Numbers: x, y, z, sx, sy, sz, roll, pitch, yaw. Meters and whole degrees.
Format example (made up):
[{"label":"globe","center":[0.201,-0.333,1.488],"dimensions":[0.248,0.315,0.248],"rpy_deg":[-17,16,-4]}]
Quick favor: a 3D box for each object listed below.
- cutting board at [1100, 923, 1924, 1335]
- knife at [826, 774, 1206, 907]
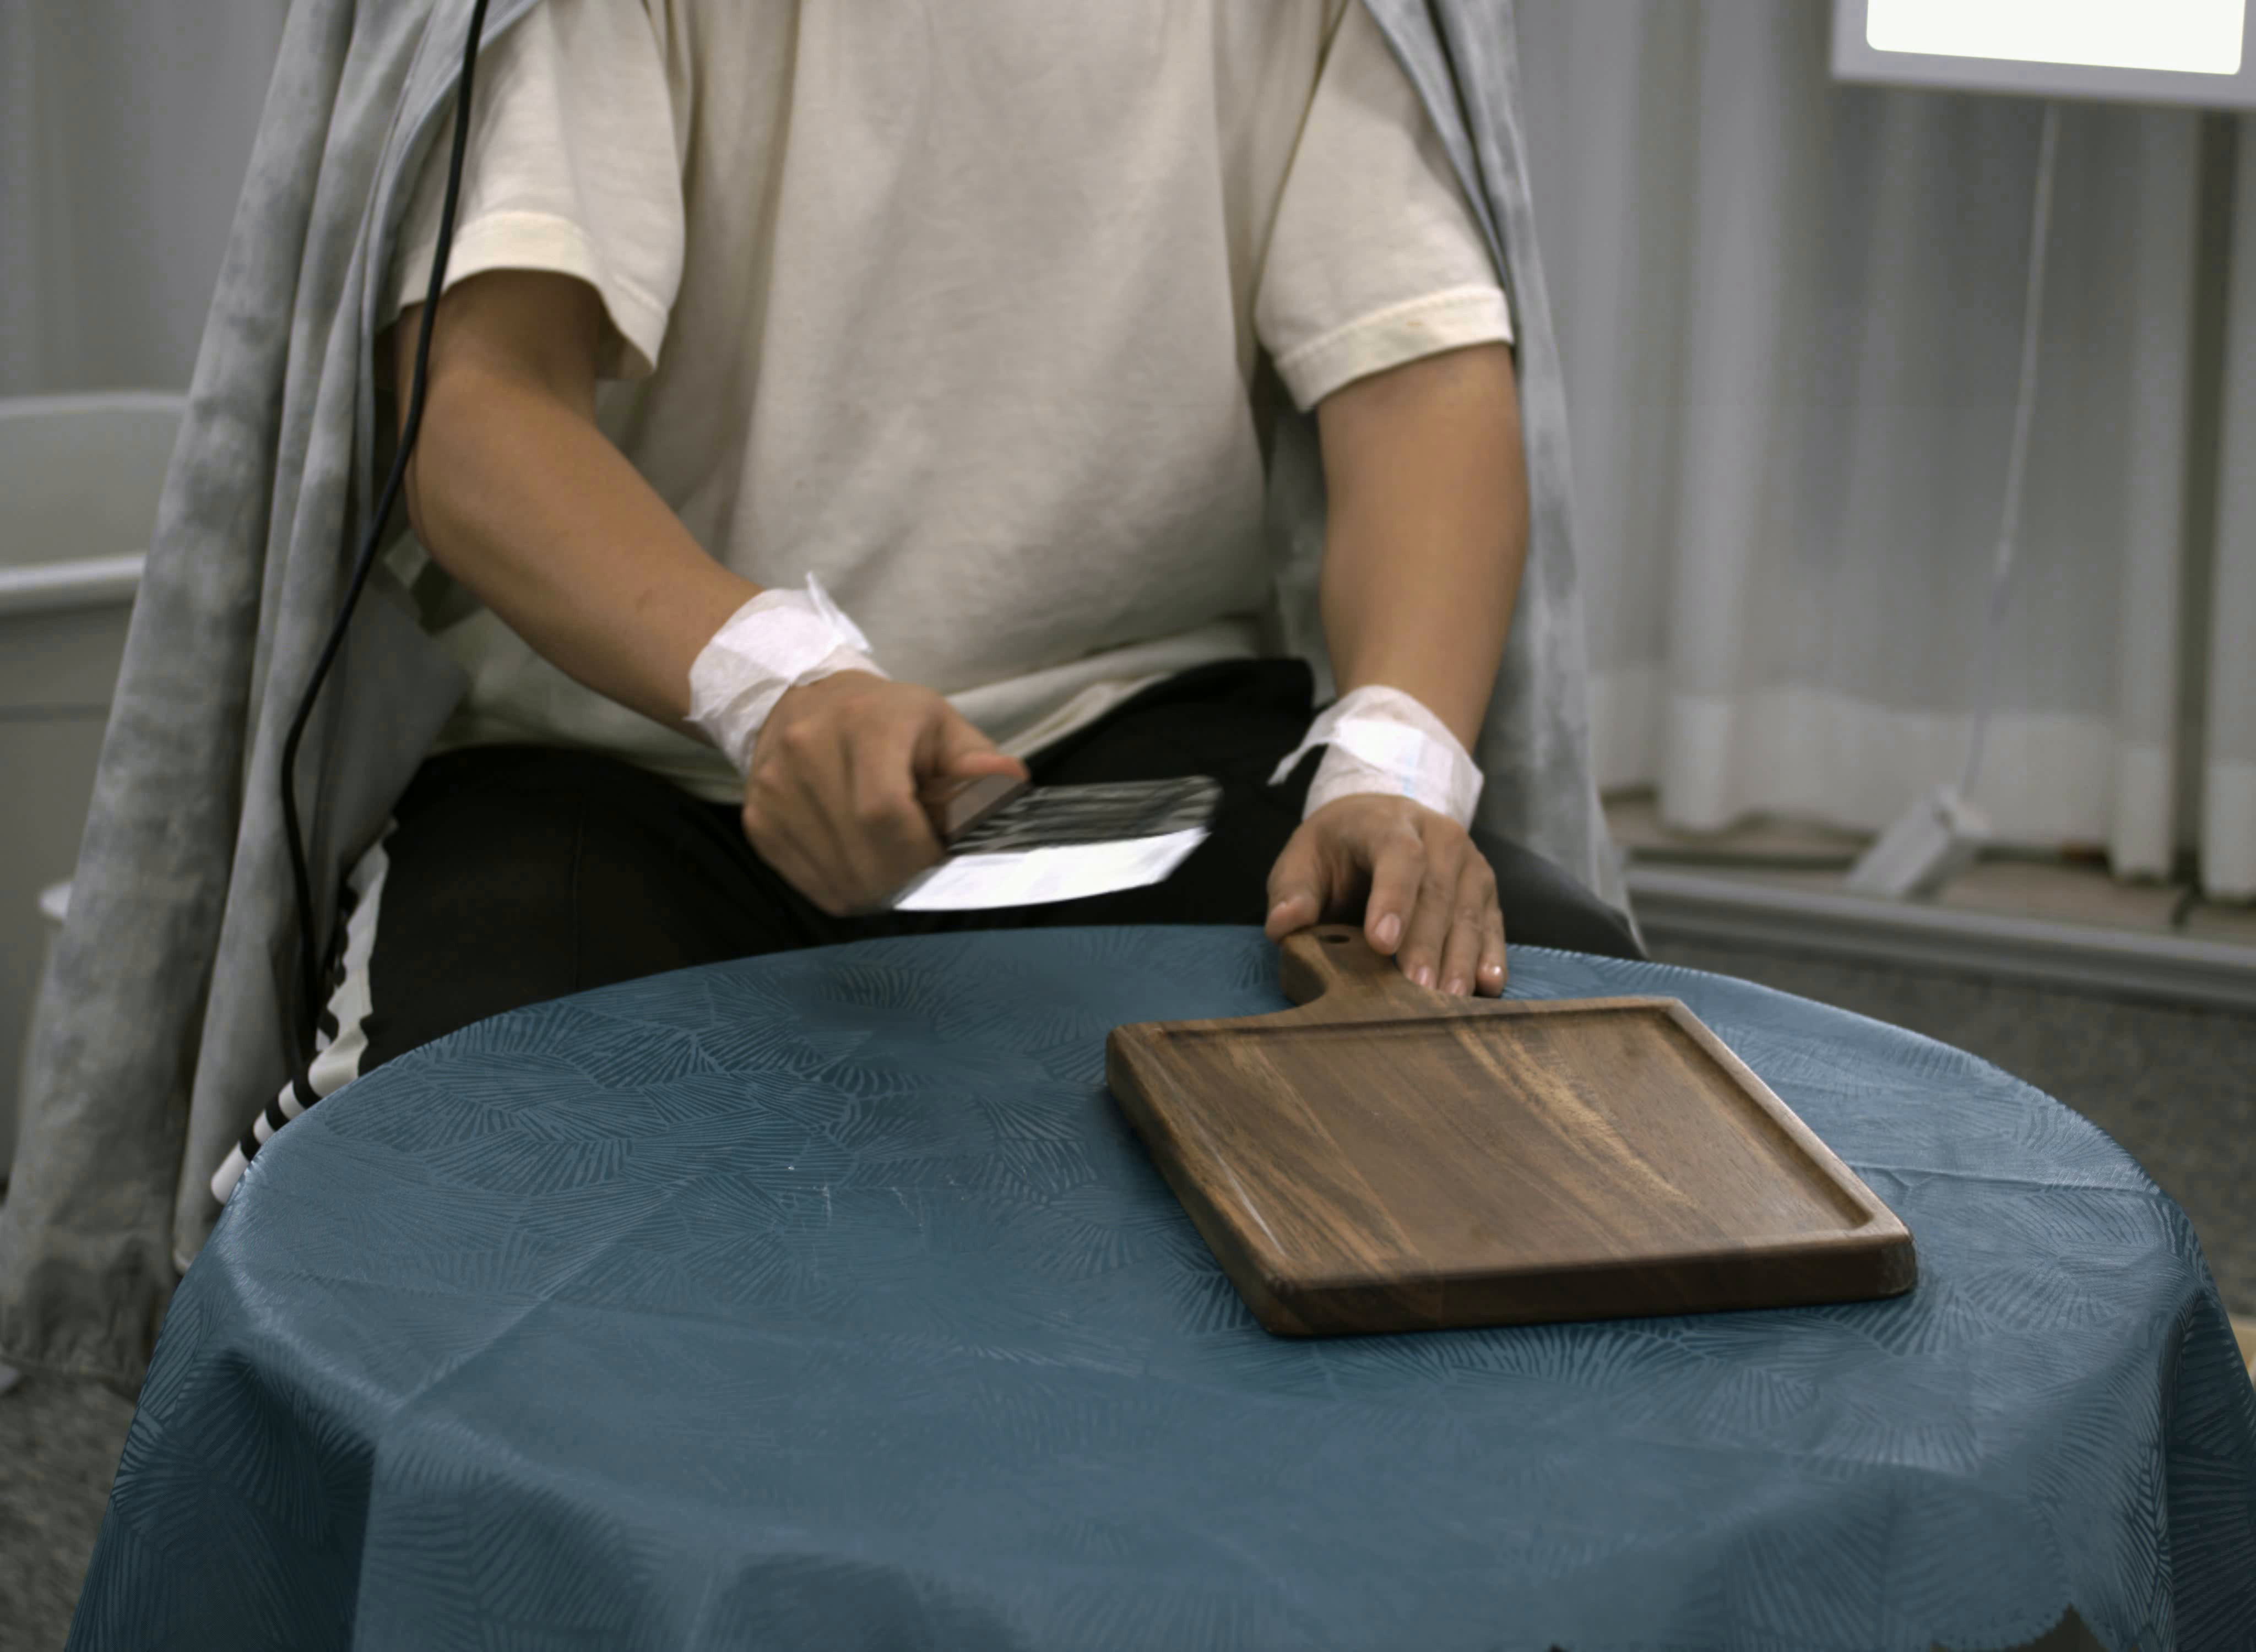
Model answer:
[{"label":"cutting board","center":[0.102,0.088,1.679],"dimensions":[0.201,0.023,0.349],"rpy_deg":[-3,15,-12]},{"label":"knife","center":[-0.045,0.006,1.692],"dimensions":[0.068,0.024,0.297],"rpy_deg":[-38,15,-21]}]
